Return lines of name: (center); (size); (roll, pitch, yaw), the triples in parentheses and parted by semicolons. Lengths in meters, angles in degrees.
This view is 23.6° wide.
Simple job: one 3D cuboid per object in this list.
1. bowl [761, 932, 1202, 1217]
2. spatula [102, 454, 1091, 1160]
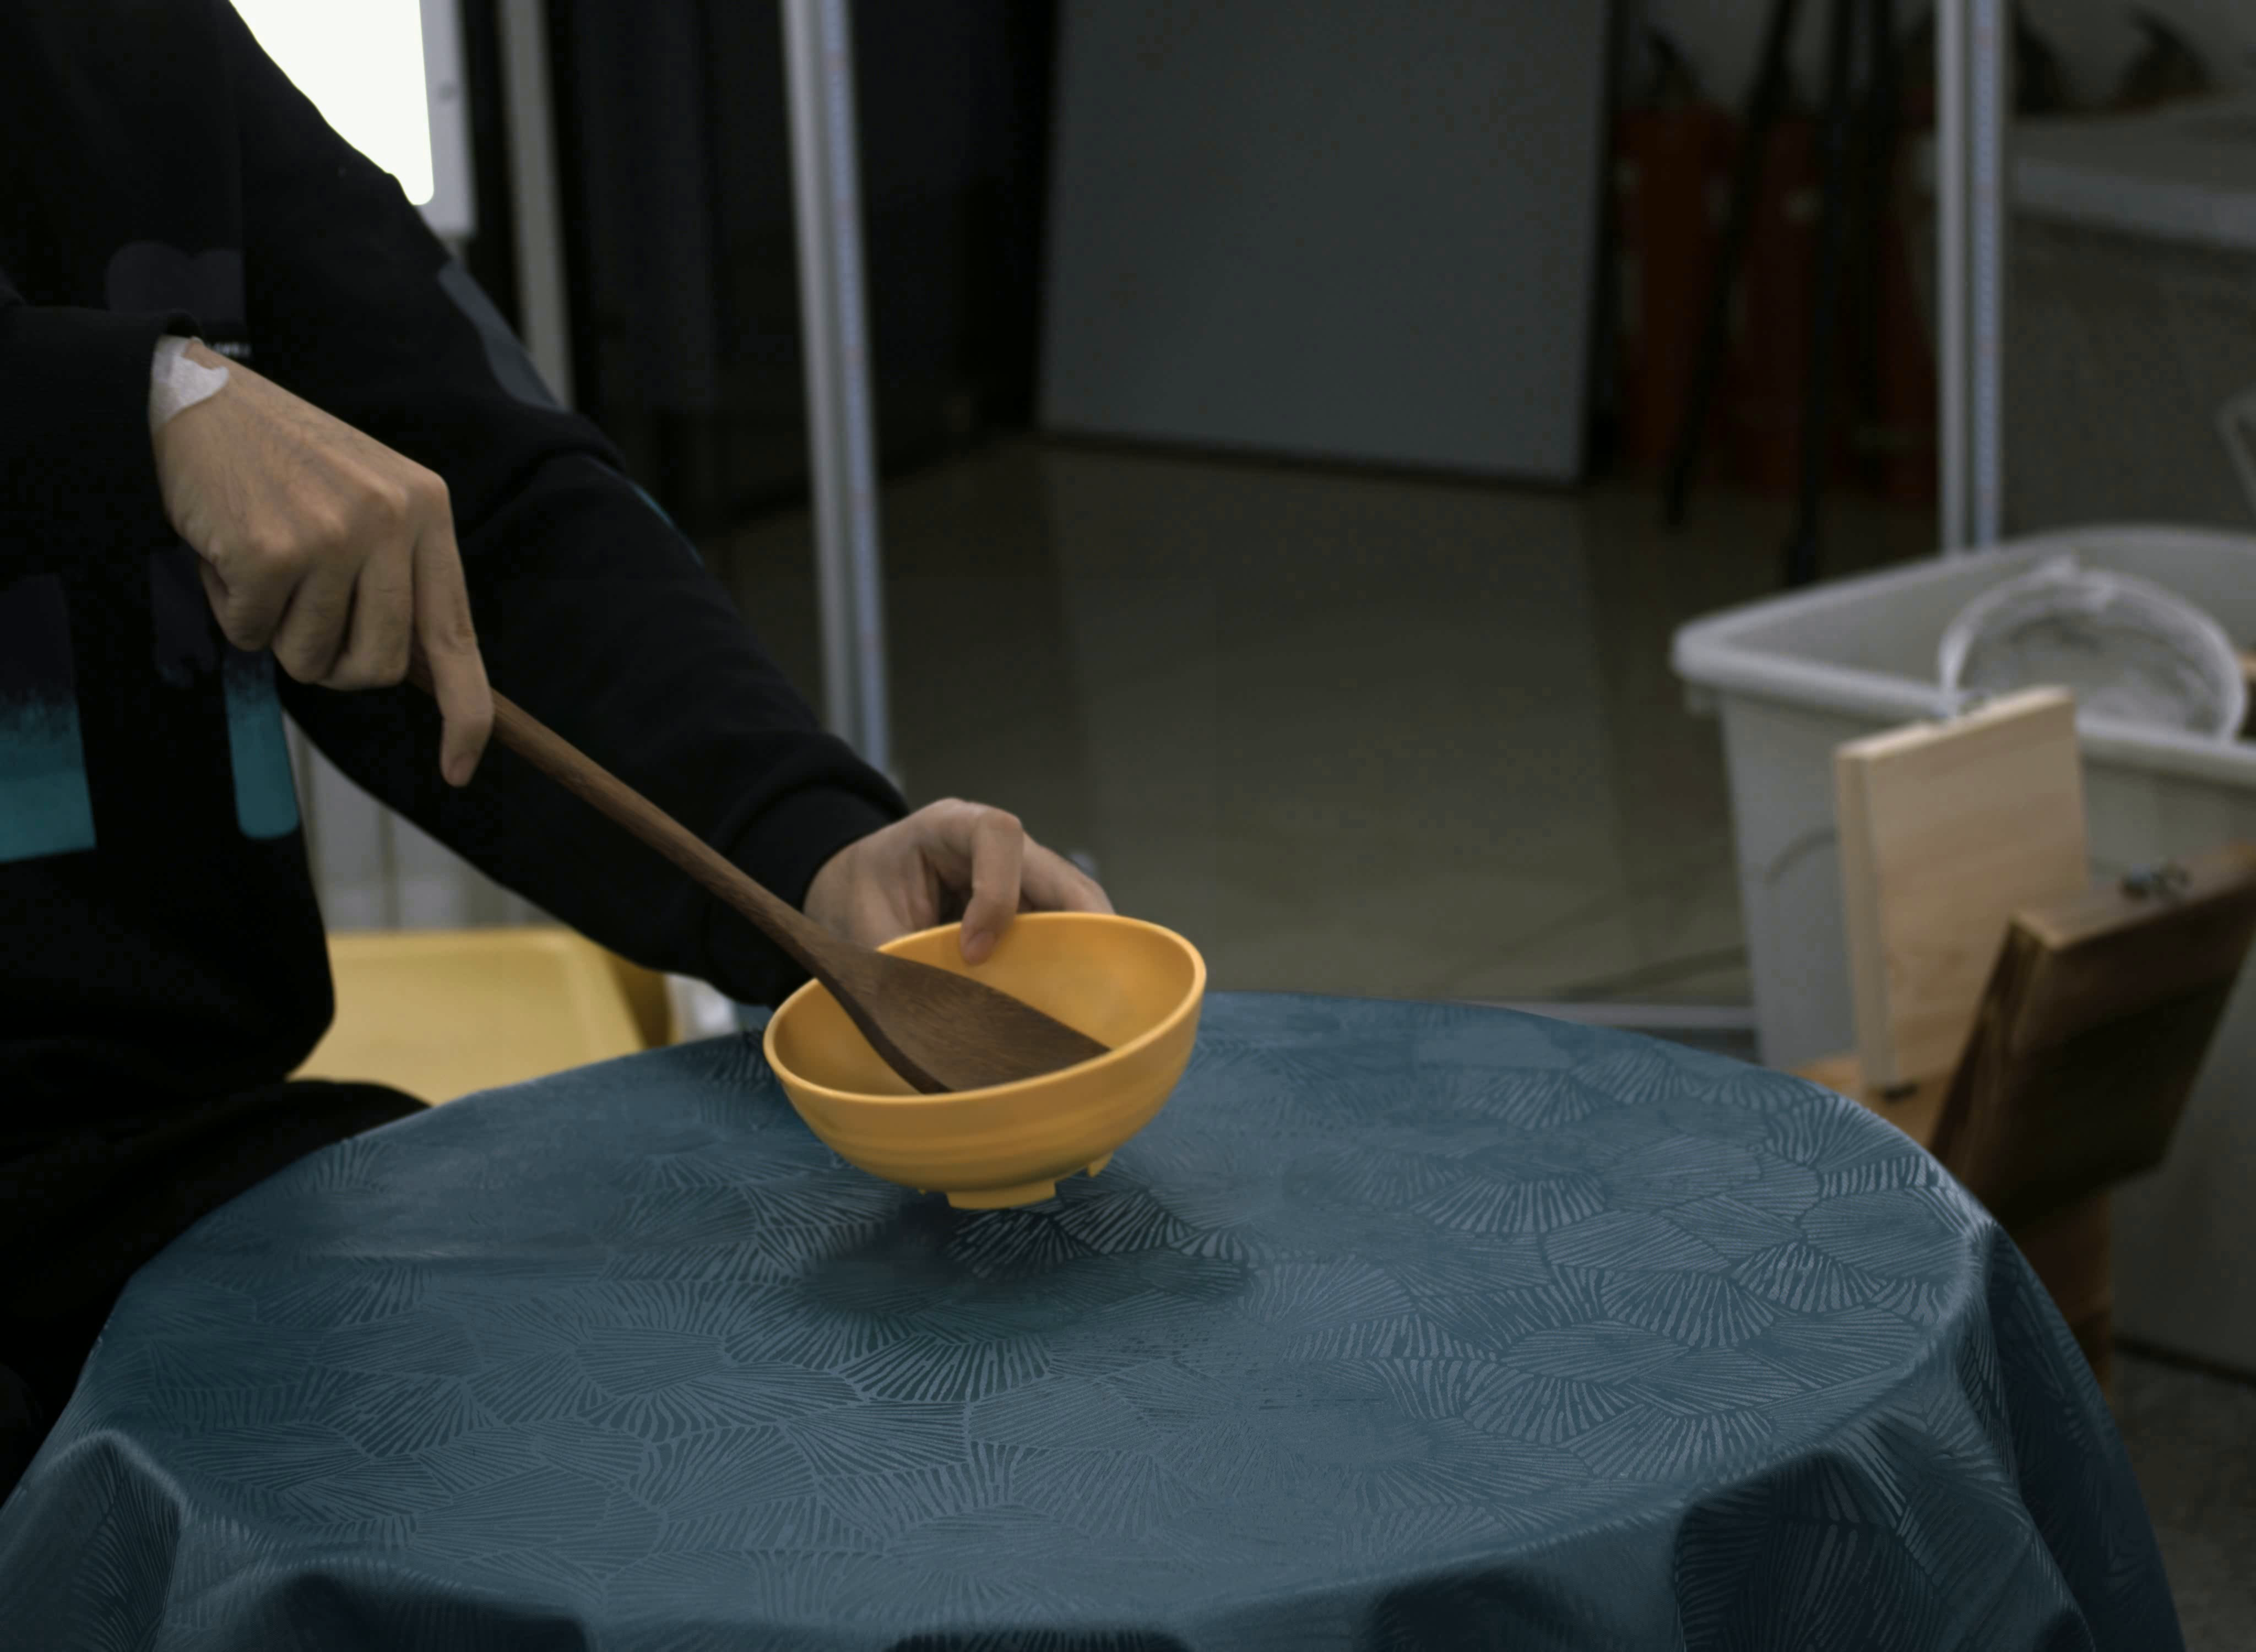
bowl: (-0.043, 0.086, 1.731); (0.143, 0.060, 0.145); (-10, 17, 2)
spatula: (-0.165, -0.009, 1.726); (0.384, 0.016, 0.095); (35, 19, 0)
